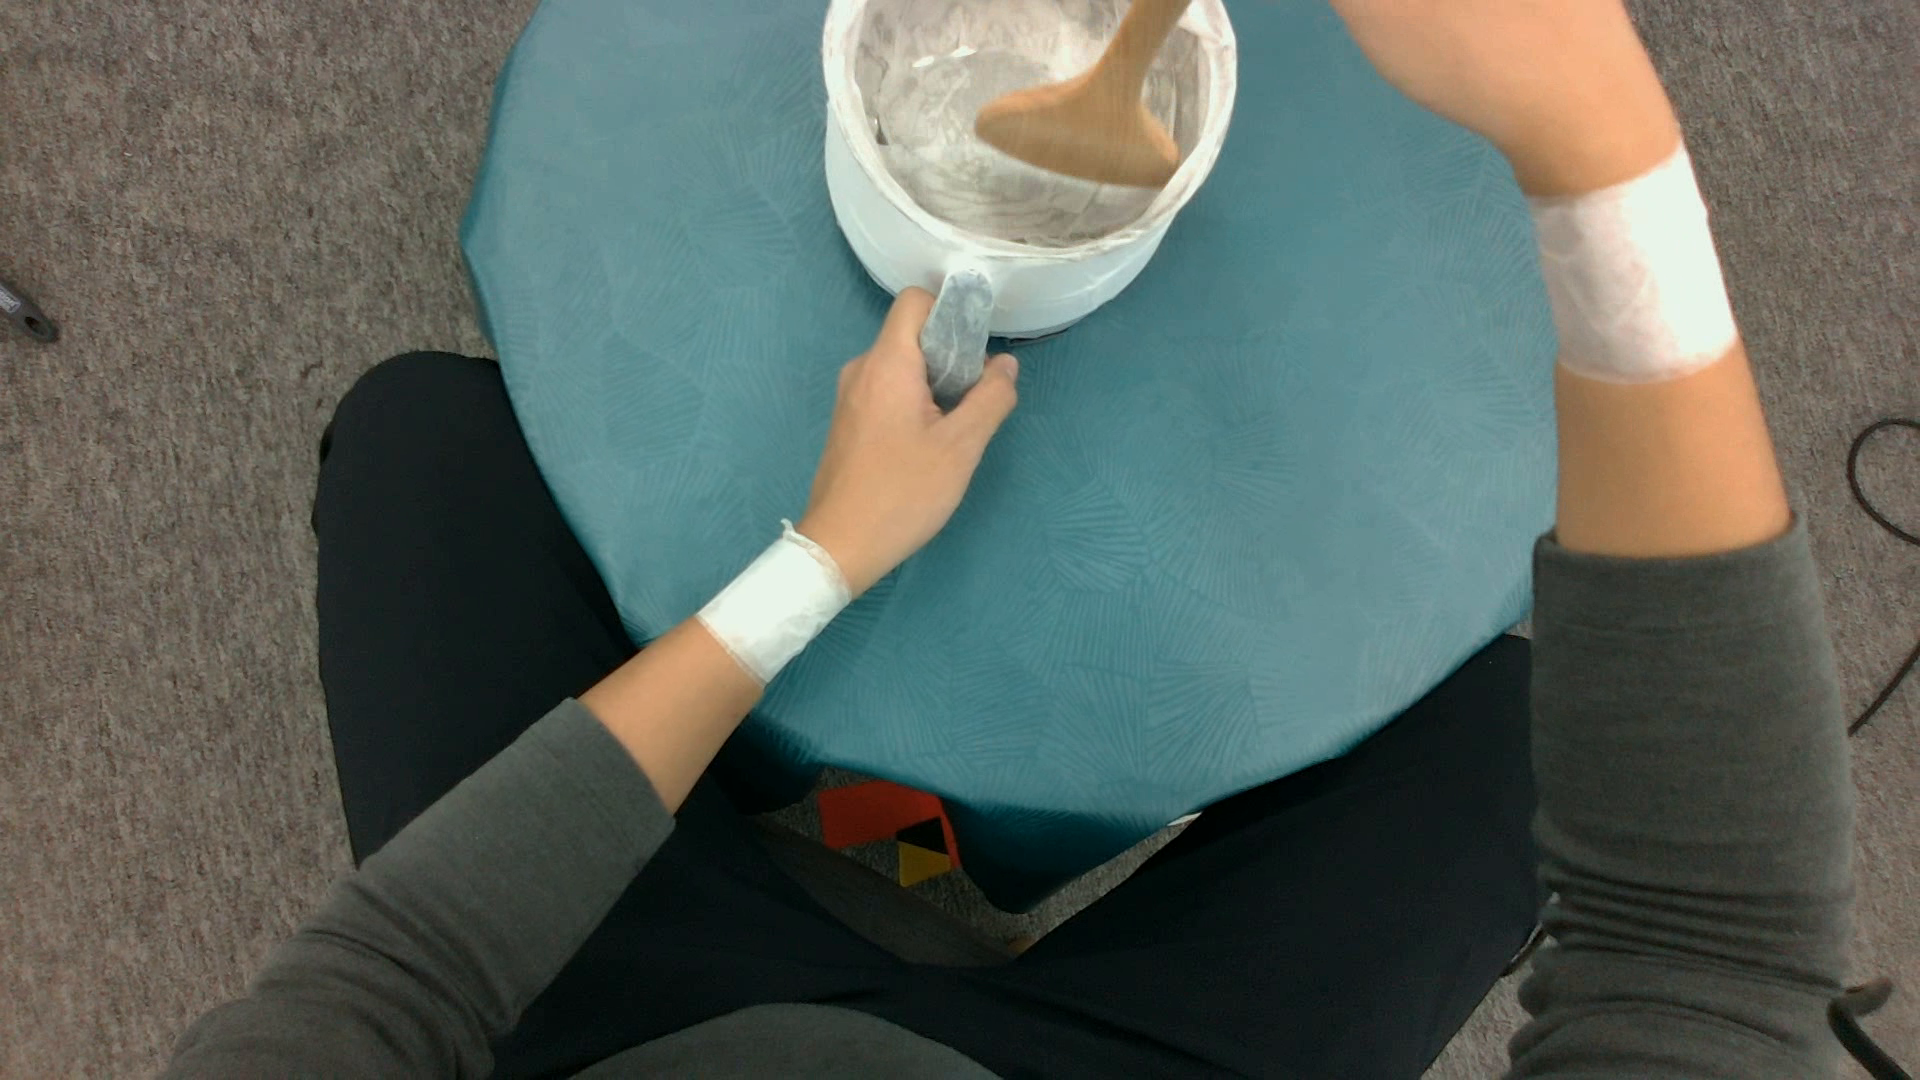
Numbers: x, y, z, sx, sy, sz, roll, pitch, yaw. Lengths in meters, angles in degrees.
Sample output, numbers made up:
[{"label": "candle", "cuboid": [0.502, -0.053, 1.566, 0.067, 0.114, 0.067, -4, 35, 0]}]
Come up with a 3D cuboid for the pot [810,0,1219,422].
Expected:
[{"label": "pot", "cuboid": [0.011, -0.174, 0.647, 0.179, 0.136, 0.234, 15, 81, -4]}]

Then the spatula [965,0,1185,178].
[{"label": "spatula", "cuboid": [0.073, -0.188, 0.468, 0.096, 0.390, 0.018, 12, 84, -8]}]
